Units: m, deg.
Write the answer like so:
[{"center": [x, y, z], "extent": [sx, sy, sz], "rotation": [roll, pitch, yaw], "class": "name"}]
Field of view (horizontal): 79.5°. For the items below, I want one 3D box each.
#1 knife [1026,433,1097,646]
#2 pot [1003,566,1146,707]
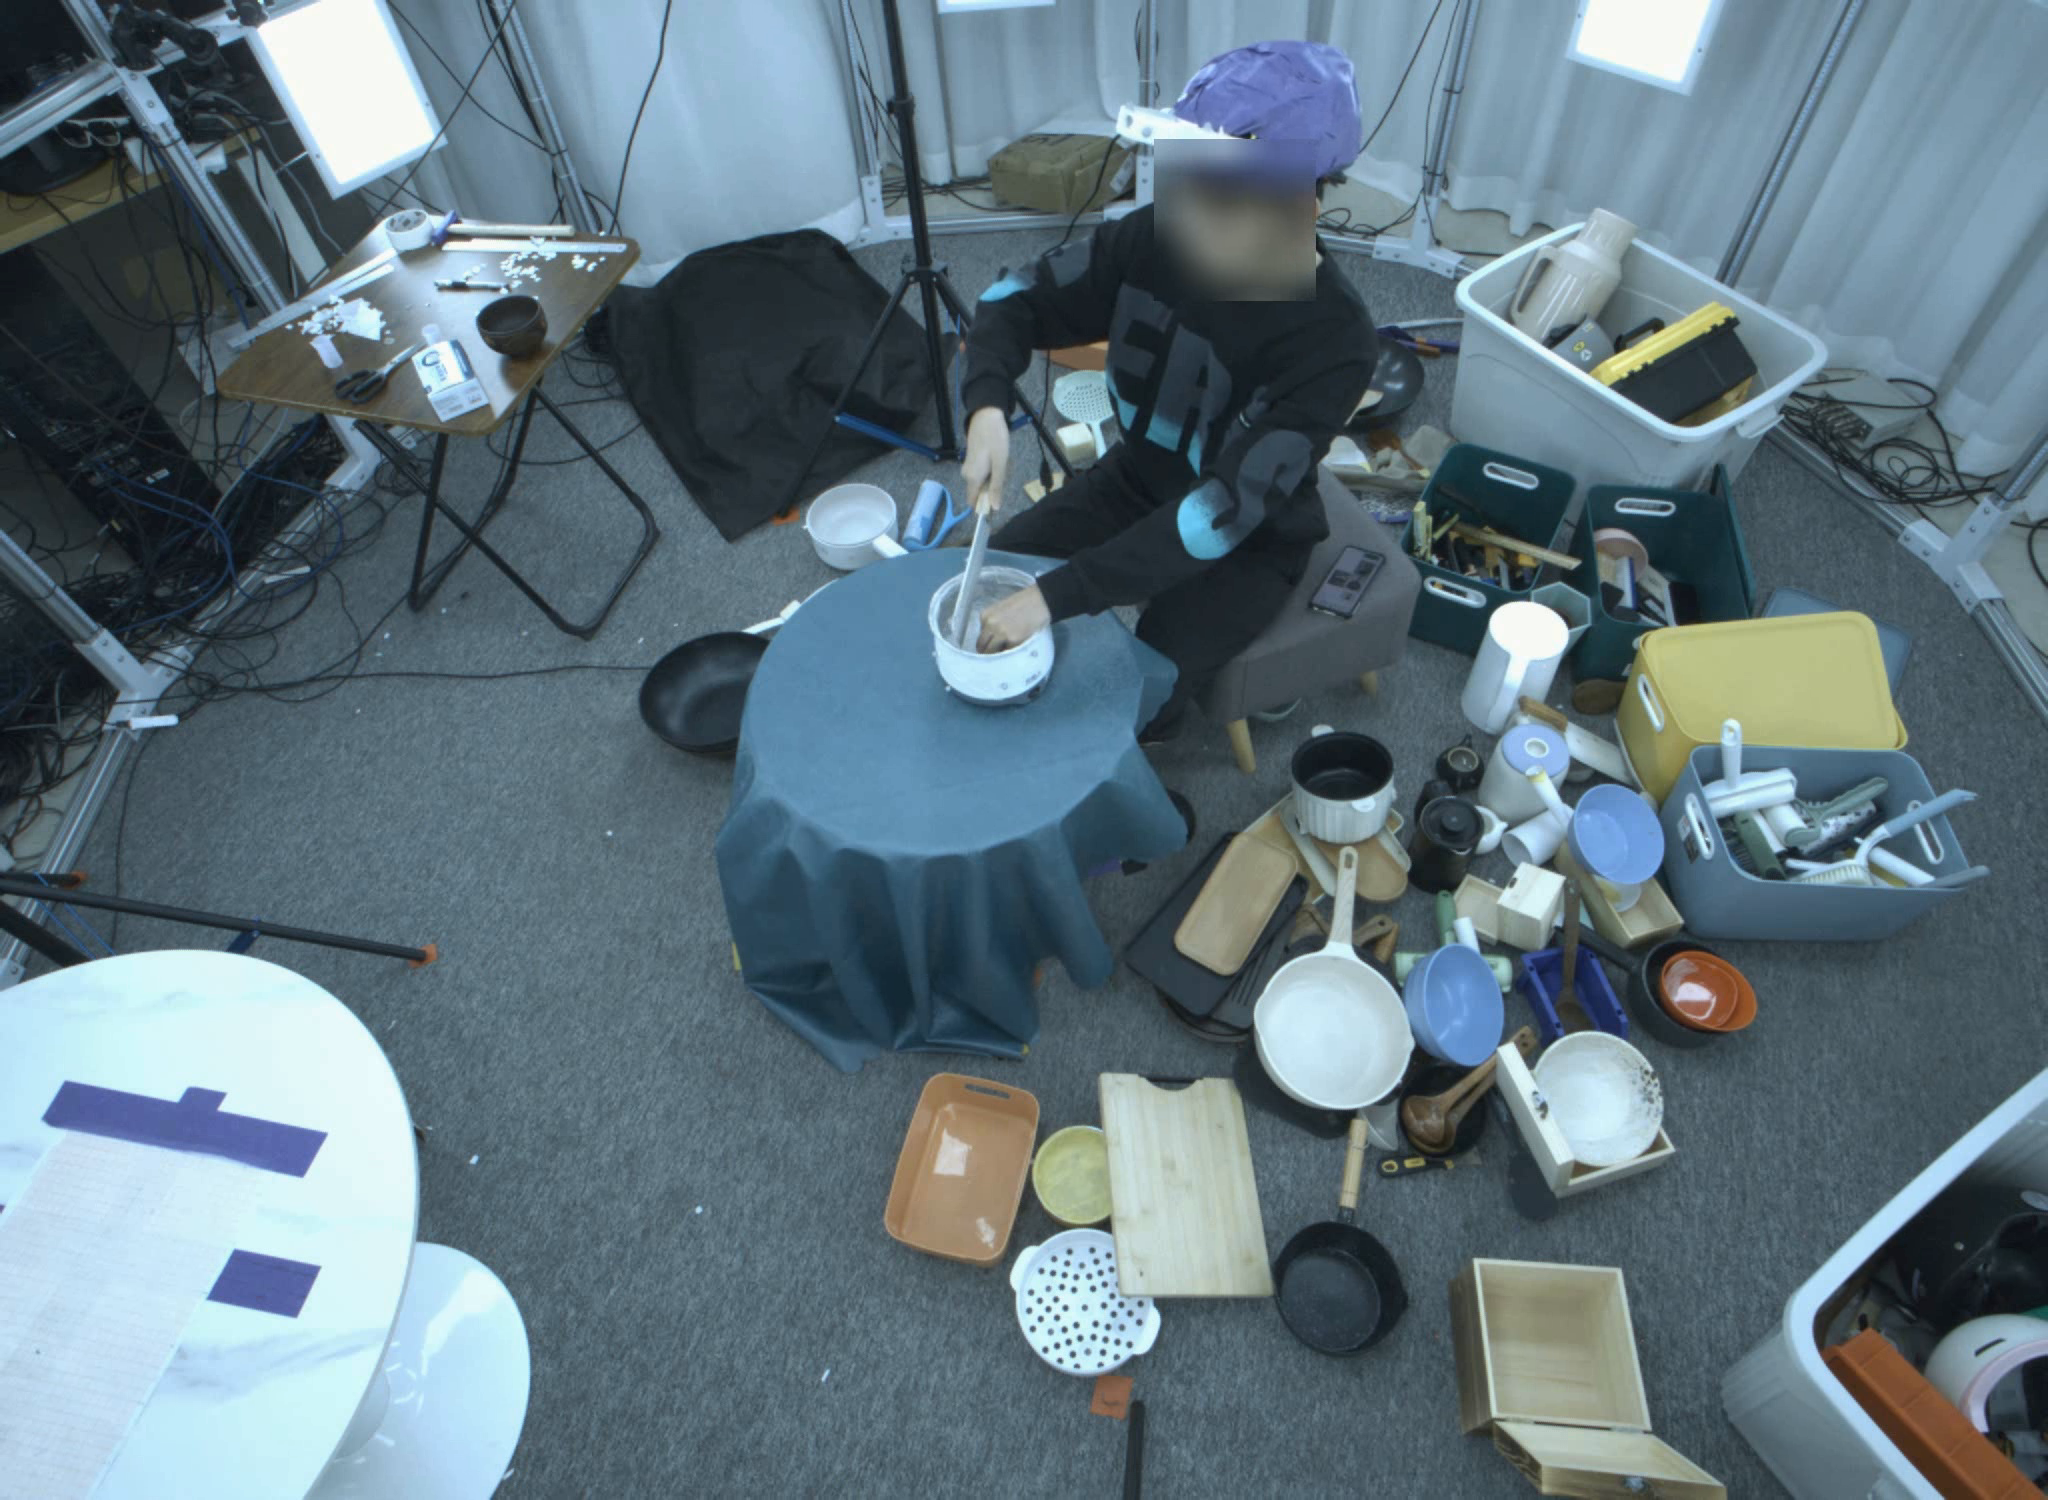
[{"center": [0.050, -0.304, 1.753], "extent": [0.021, 0.115, 0.315], "rotation": [16, 89, 10], "class": "knife"}, {"center": [0.084, -0.179, 1.824], "extent": [0.235, 0.138, 0.175], "rotation": [-35, 61, -19], "class": "pot"}]
